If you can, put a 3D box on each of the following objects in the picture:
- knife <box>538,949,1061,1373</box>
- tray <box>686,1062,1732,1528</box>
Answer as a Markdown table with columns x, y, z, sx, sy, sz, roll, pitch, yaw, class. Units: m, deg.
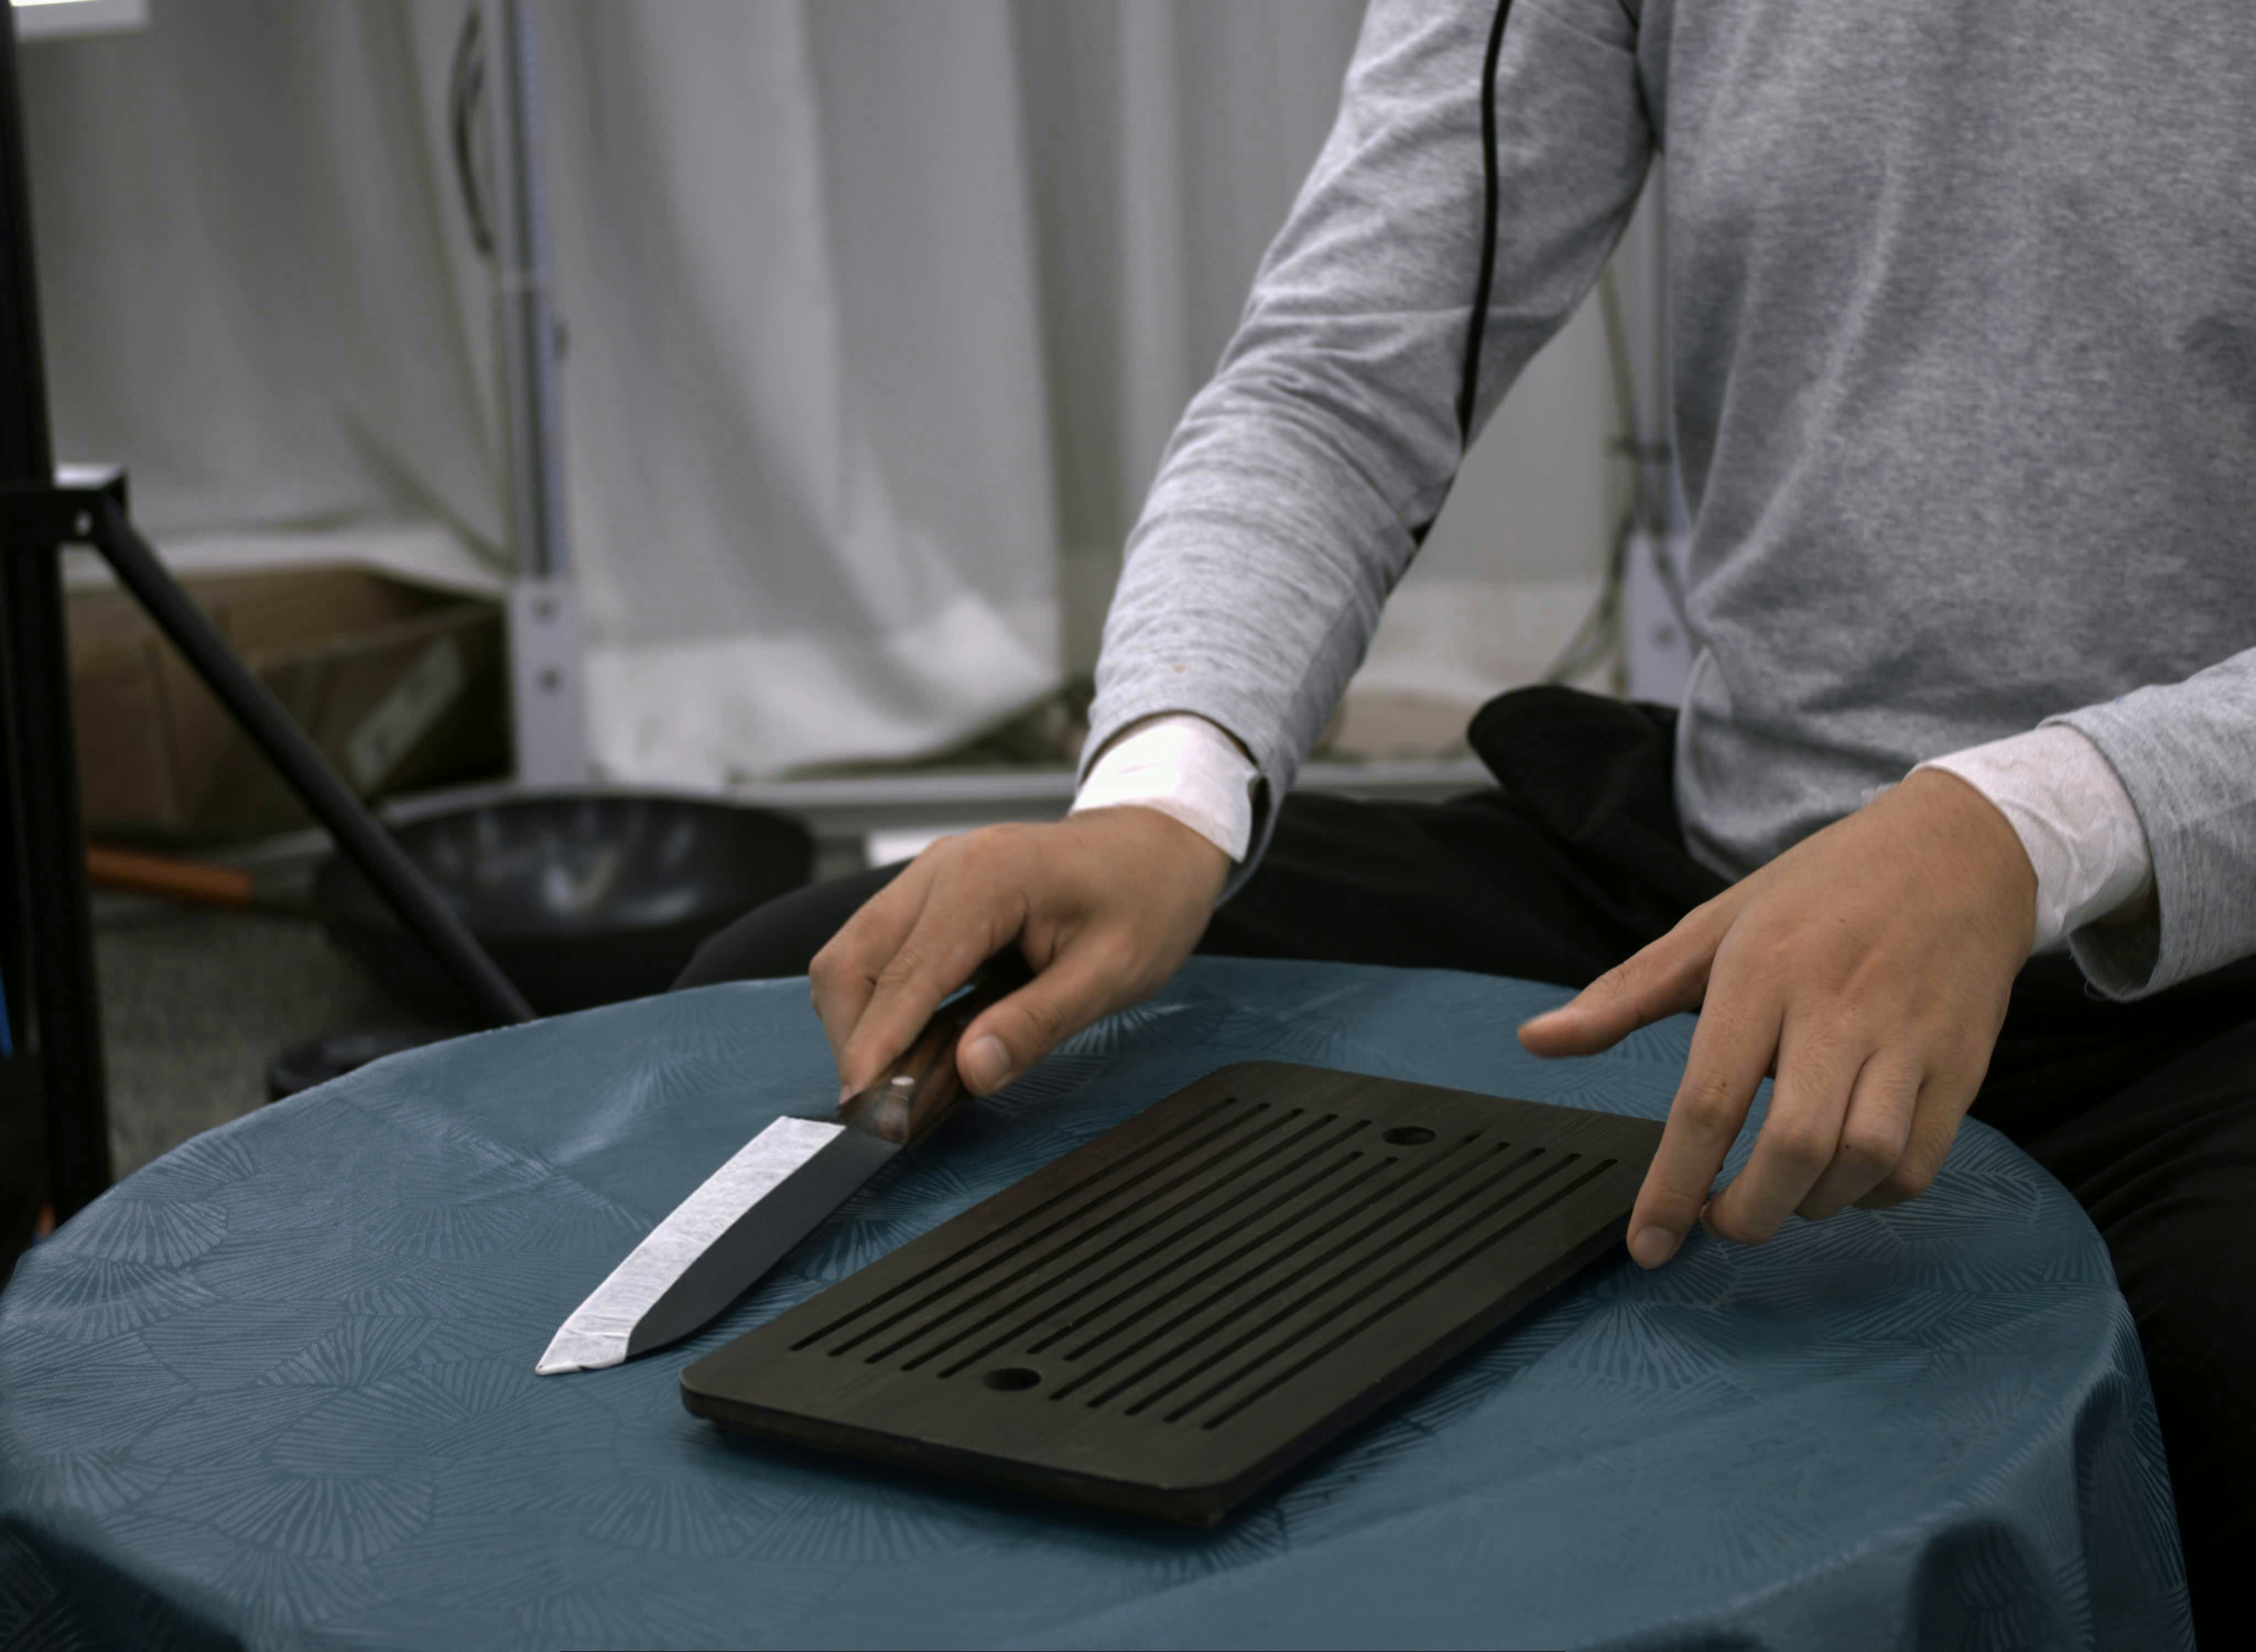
| x | y | z | sx | sy | sz | roll | pitch | yaw | class |
| --- | --- | --- | --- | --- | --- | --- | --- | --- | --- |
| -0.091 | 0.097 | 1.555 | 0.051 | 0.020 | 0.285 | 6 | 24 | 27 | knife |
| 0.030 | 0.125 | 1.464 | 0.173 | 0.018 | 0.300 | 7 | 18 | 32 | tray |
